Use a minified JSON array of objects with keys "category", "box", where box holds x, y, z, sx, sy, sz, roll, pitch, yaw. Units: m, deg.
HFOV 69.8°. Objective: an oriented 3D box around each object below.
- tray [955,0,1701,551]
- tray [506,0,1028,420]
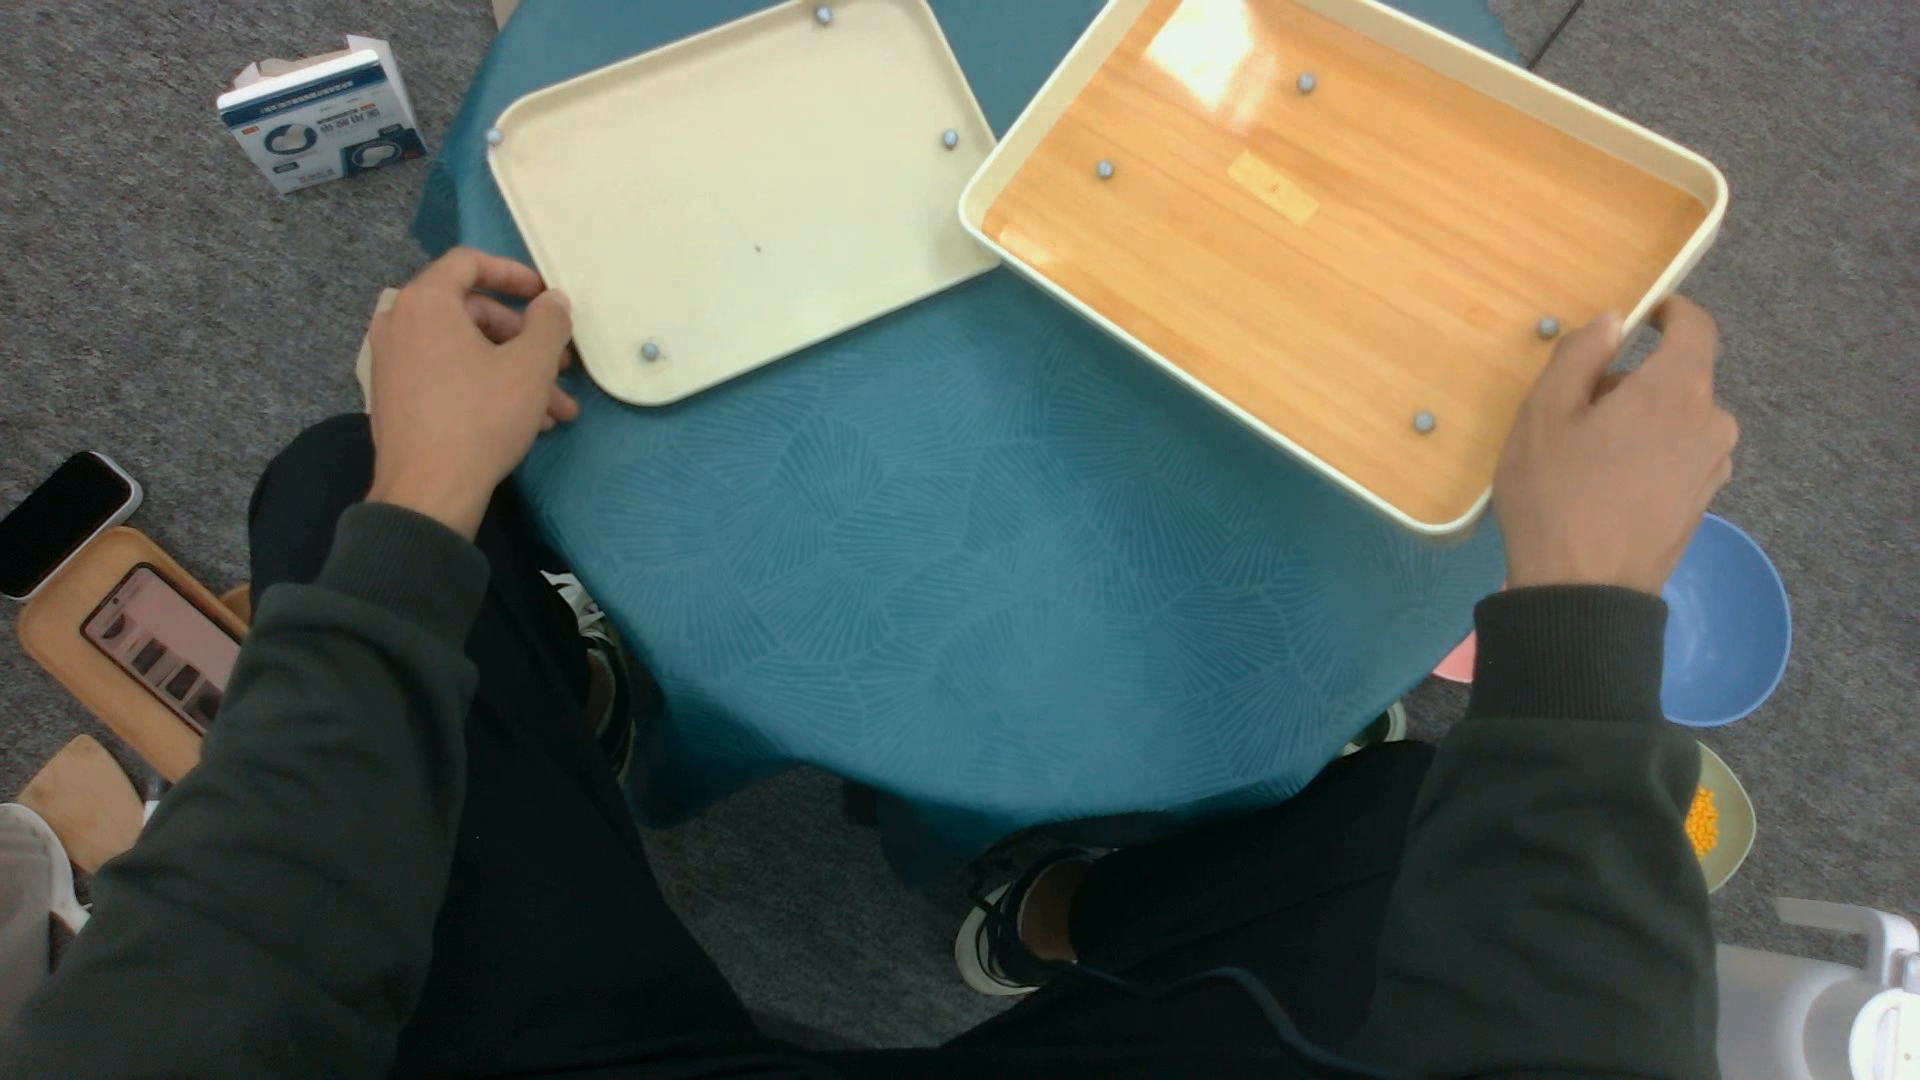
[{"category":"tray","box":[0.155,-0.147,0.645,0.300,0.027,0.191,39,92,29]},{"category":"tray","box":[-0.097,-0.174,0.717,0.240,0.017,0.171,-26,84,-11]}]
